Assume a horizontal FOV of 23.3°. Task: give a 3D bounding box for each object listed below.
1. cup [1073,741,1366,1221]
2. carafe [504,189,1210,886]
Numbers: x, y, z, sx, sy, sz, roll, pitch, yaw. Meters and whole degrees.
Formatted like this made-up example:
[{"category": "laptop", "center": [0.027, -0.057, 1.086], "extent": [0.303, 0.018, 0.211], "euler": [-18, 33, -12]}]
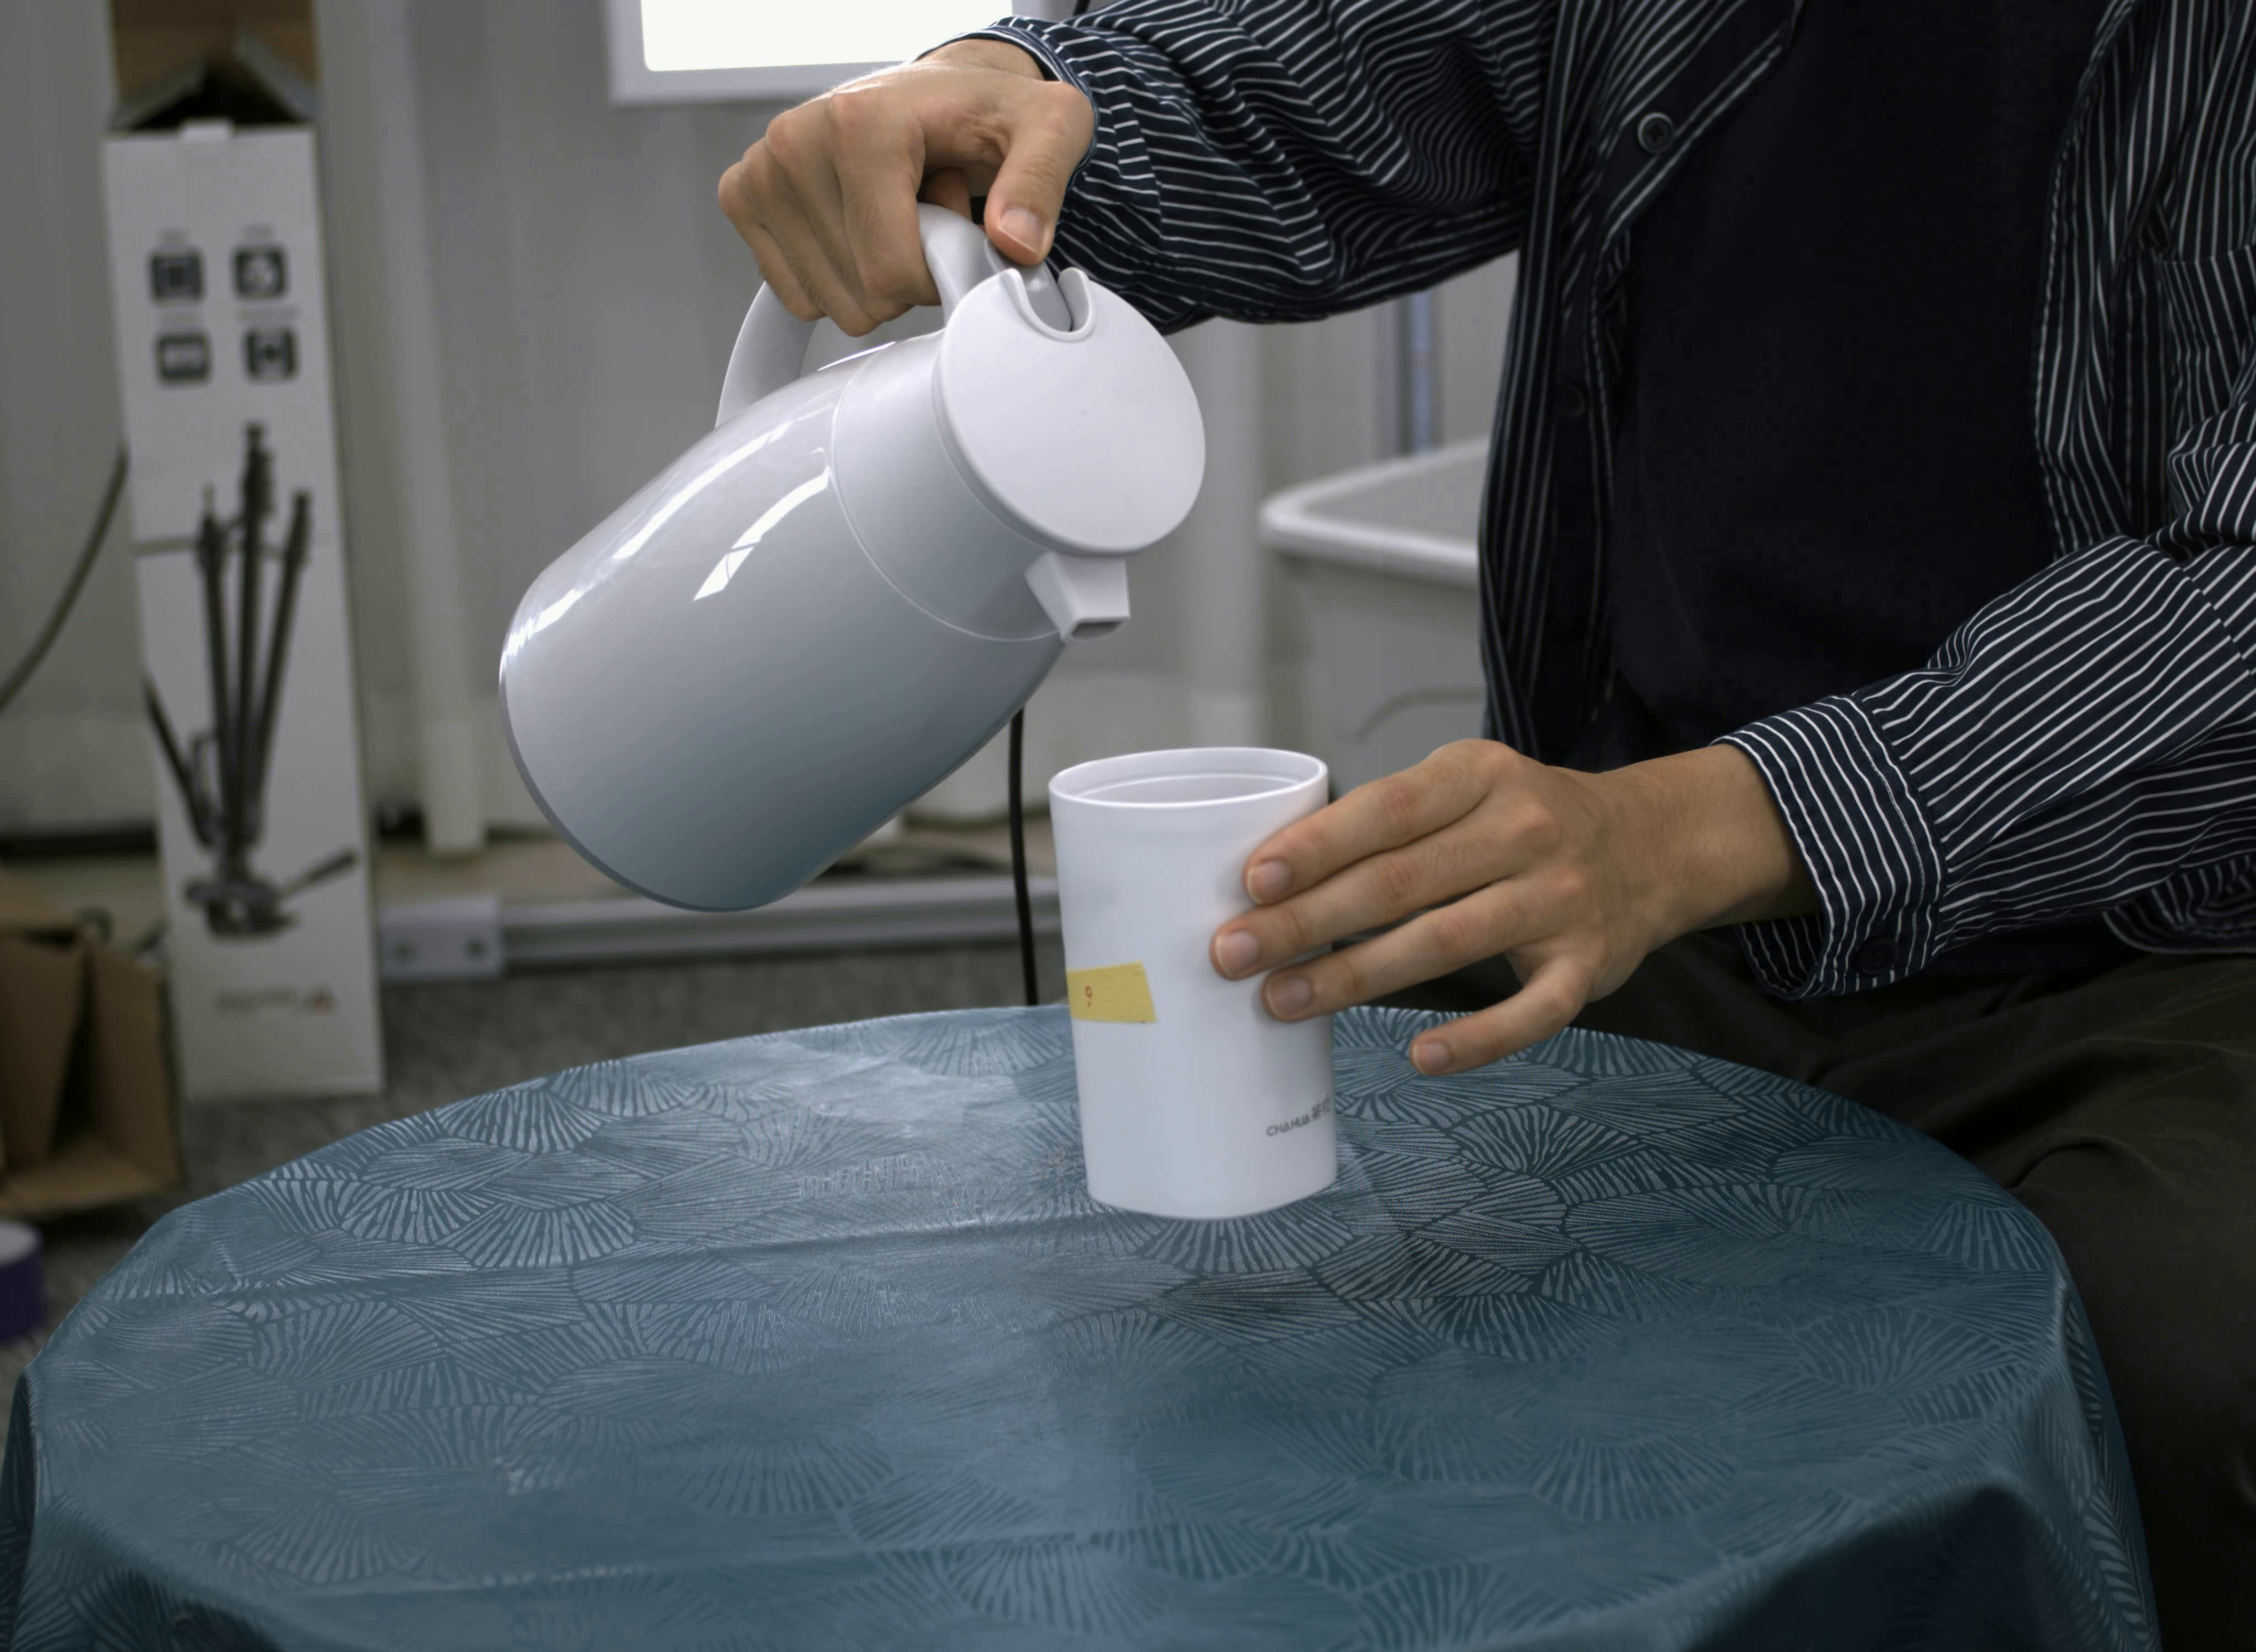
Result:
[{"category": "cup", "center": [0.029, 0.045, 1.584], "extent": [0.081, 0.125, 0.082], "euler": [-4, 11, 0]}, {"category": "carafe", "center": [-0.084, -0.100, 1.678], "extent": [0.132, 0.169, 0.247], "euler": [-11, -14, -37]}]
